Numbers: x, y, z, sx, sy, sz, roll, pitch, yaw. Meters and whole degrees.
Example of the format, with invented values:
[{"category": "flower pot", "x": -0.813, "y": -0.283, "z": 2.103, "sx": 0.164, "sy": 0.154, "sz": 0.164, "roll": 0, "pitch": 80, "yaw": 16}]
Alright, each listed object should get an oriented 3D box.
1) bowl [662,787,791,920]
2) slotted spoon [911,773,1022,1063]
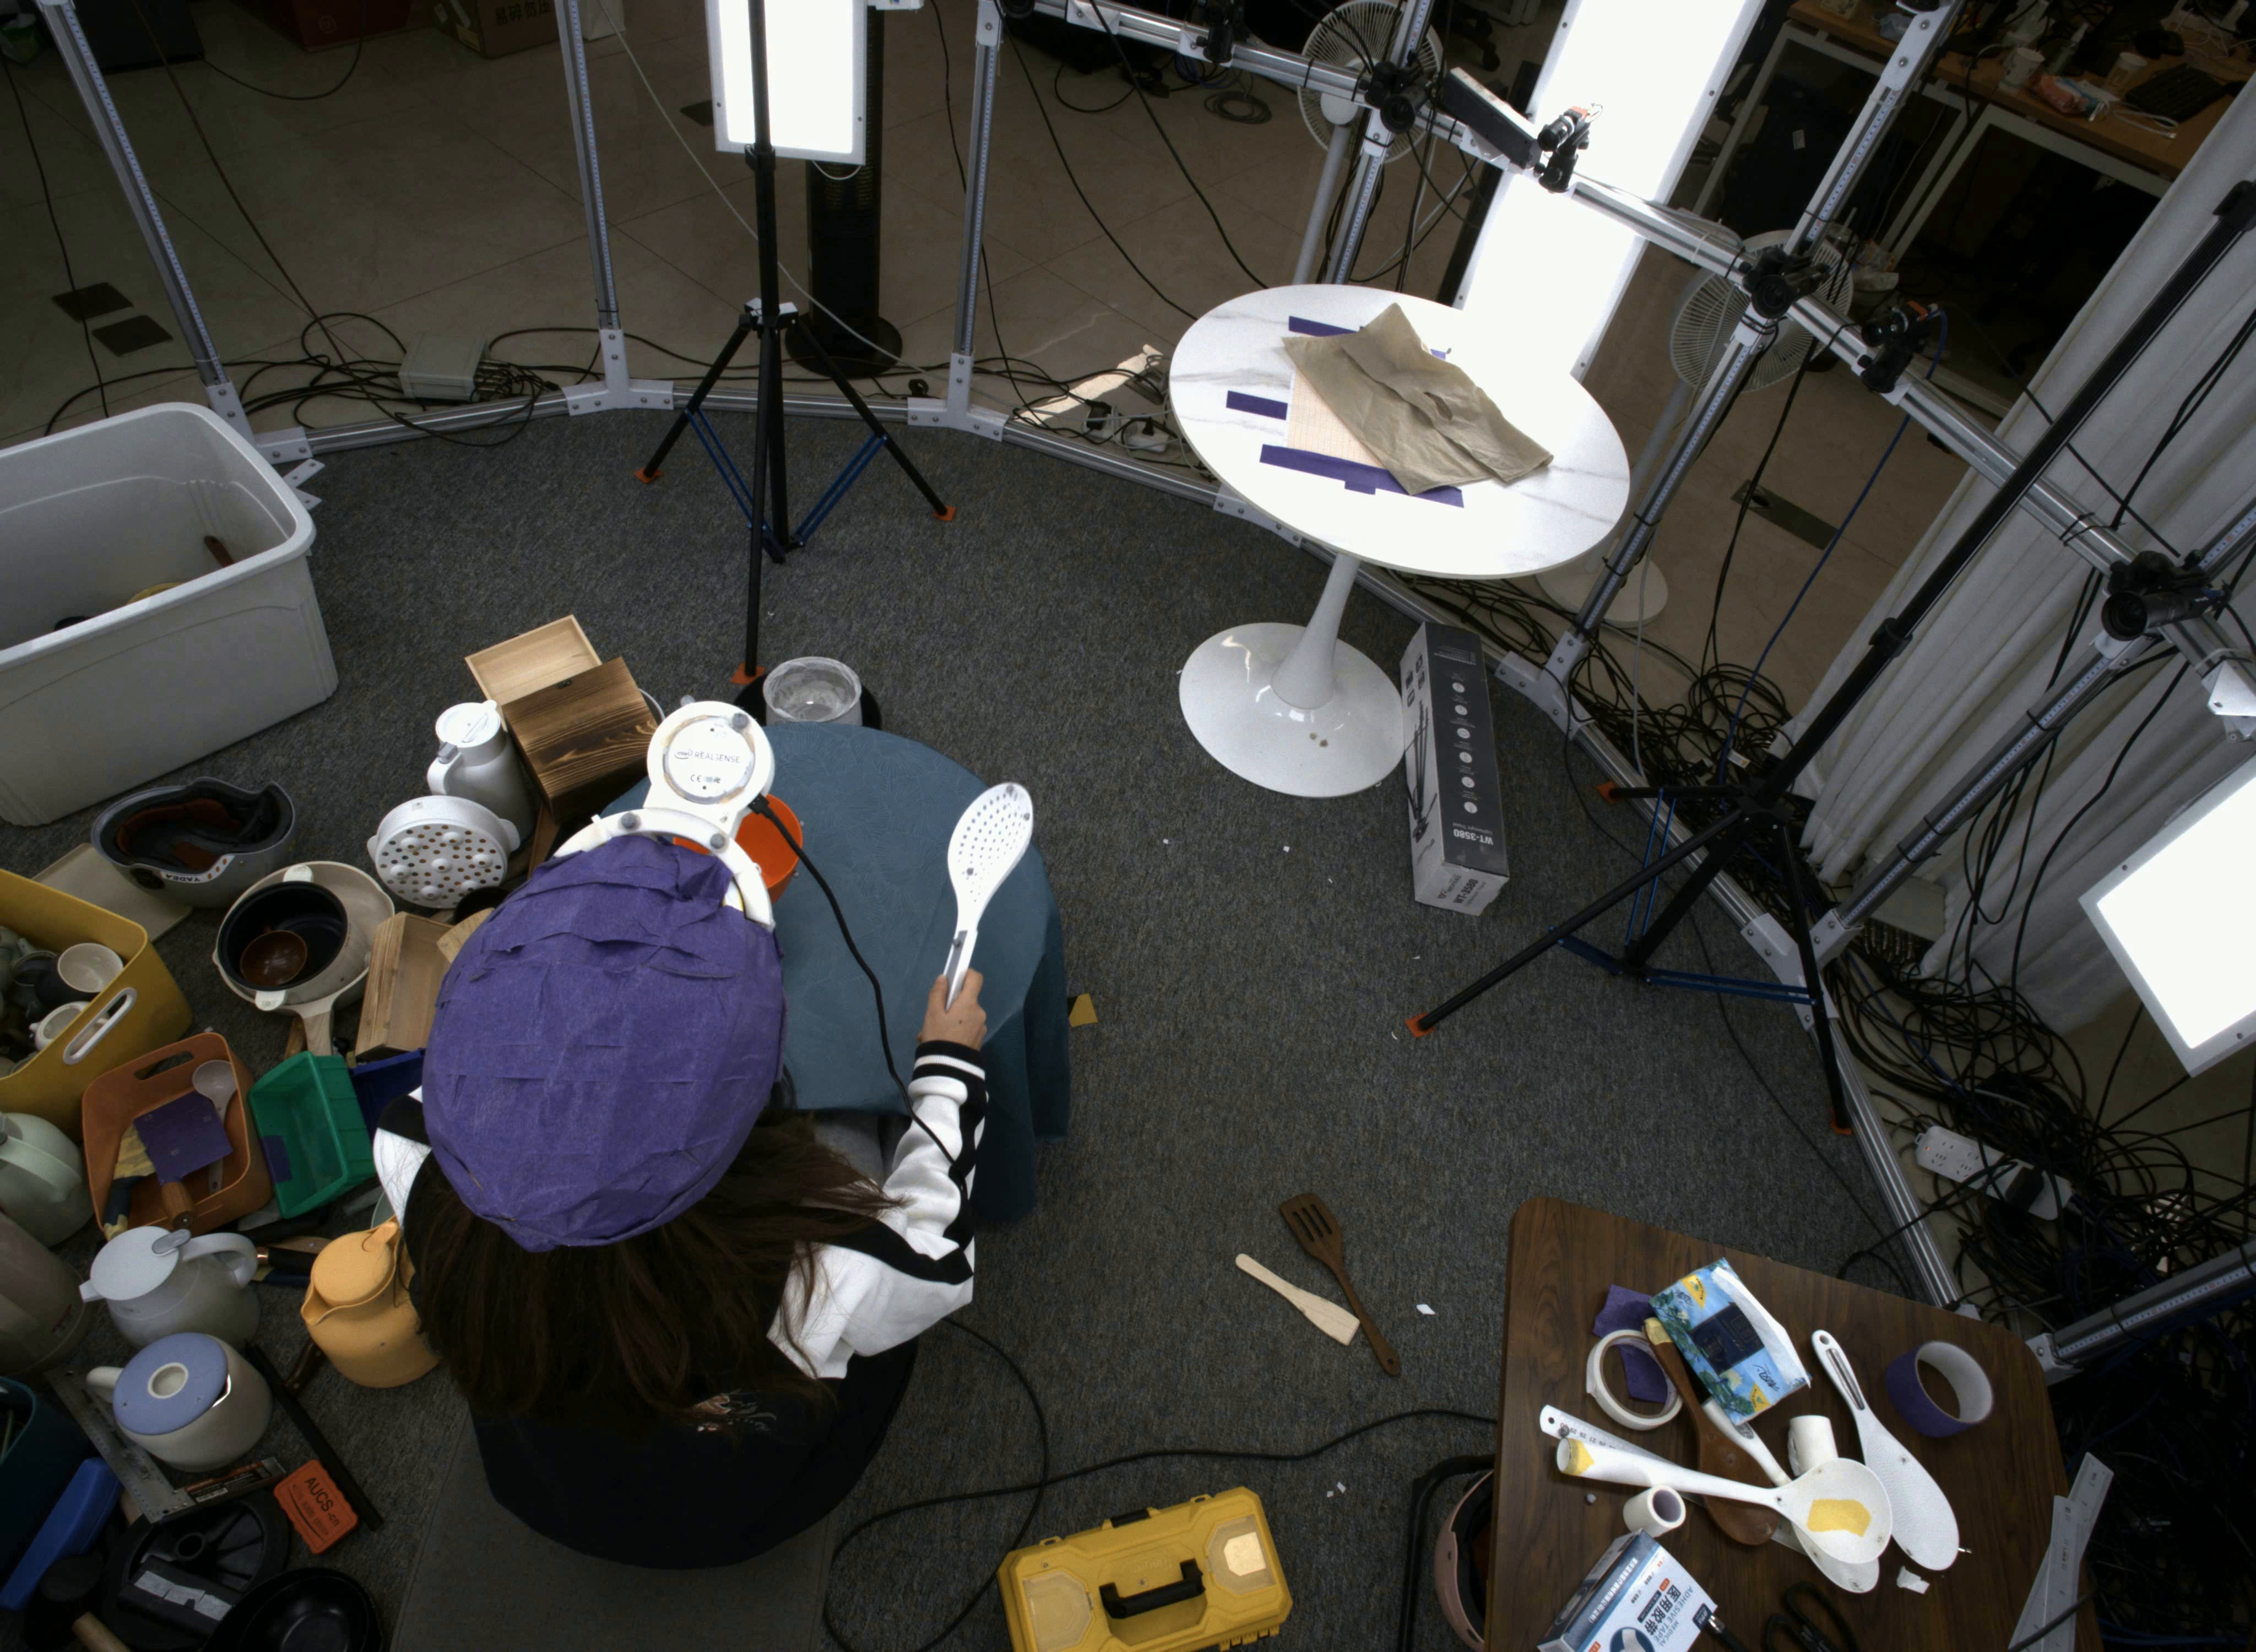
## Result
[{"category": "bowl", "x": -0.474, "y": 0.043, "z": 1.538, "sx": 0.147, "sy": 0.107, "sz": 0.145, "roll": 7, "pitch": 48, "yaw": -7}, {"category": "slotted spoon", "x": -0.193, "y": 0.099, "z": 1.496, "sx": 0.047, "sy": 0.132, "sz": 0.347, "roll": 39, "pitch": 56, "yaw": -39}]
